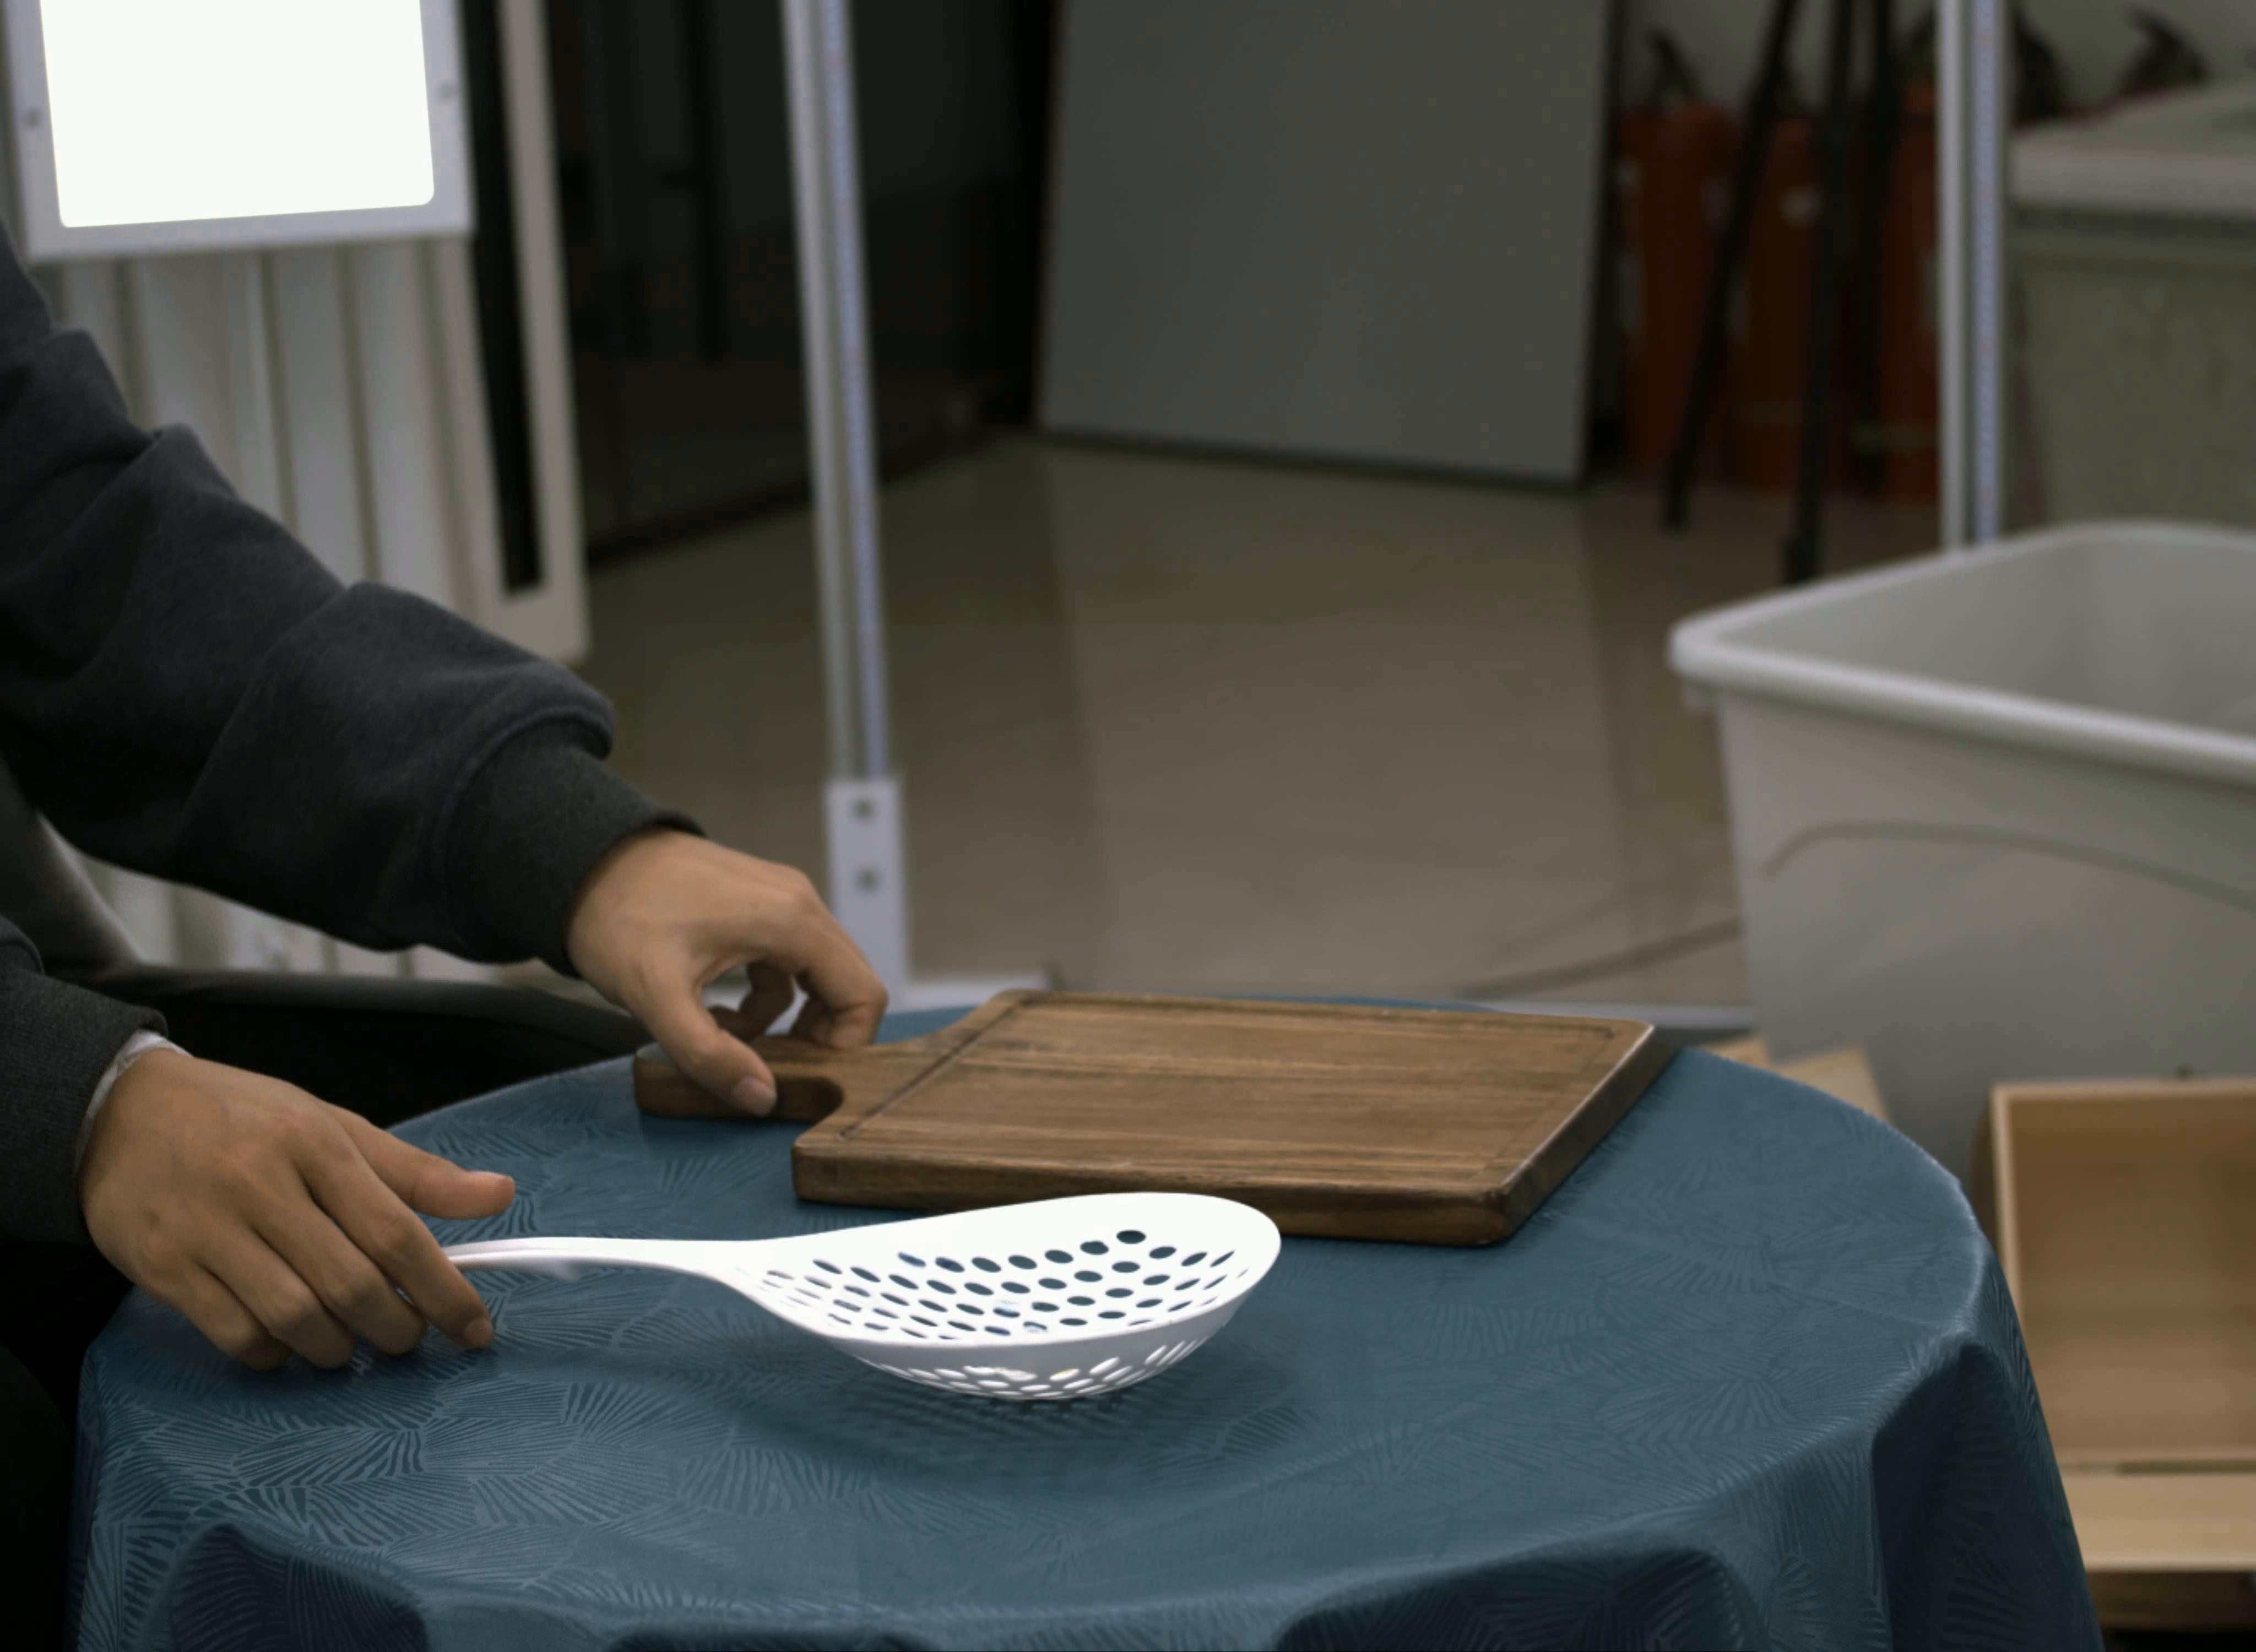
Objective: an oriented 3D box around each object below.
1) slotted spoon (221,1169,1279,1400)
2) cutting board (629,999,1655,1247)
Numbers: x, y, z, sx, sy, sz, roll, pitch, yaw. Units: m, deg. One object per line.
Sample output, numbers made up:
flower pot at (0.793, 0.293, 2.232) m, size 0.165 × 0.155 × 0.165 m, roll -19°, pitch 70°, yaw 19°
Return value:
slotted spoon at (-0.120, 0.142, 1.632) m, size 0.348 × 0.051 × 0.135 m, roll 2°, pitch 17°, yaw 23°
cutting board at (-0.010, 0.095, 1.835) m, size 0.352 × 0.023 × 0.199 m, roll 2°, pitch 14°, yaw 22°
